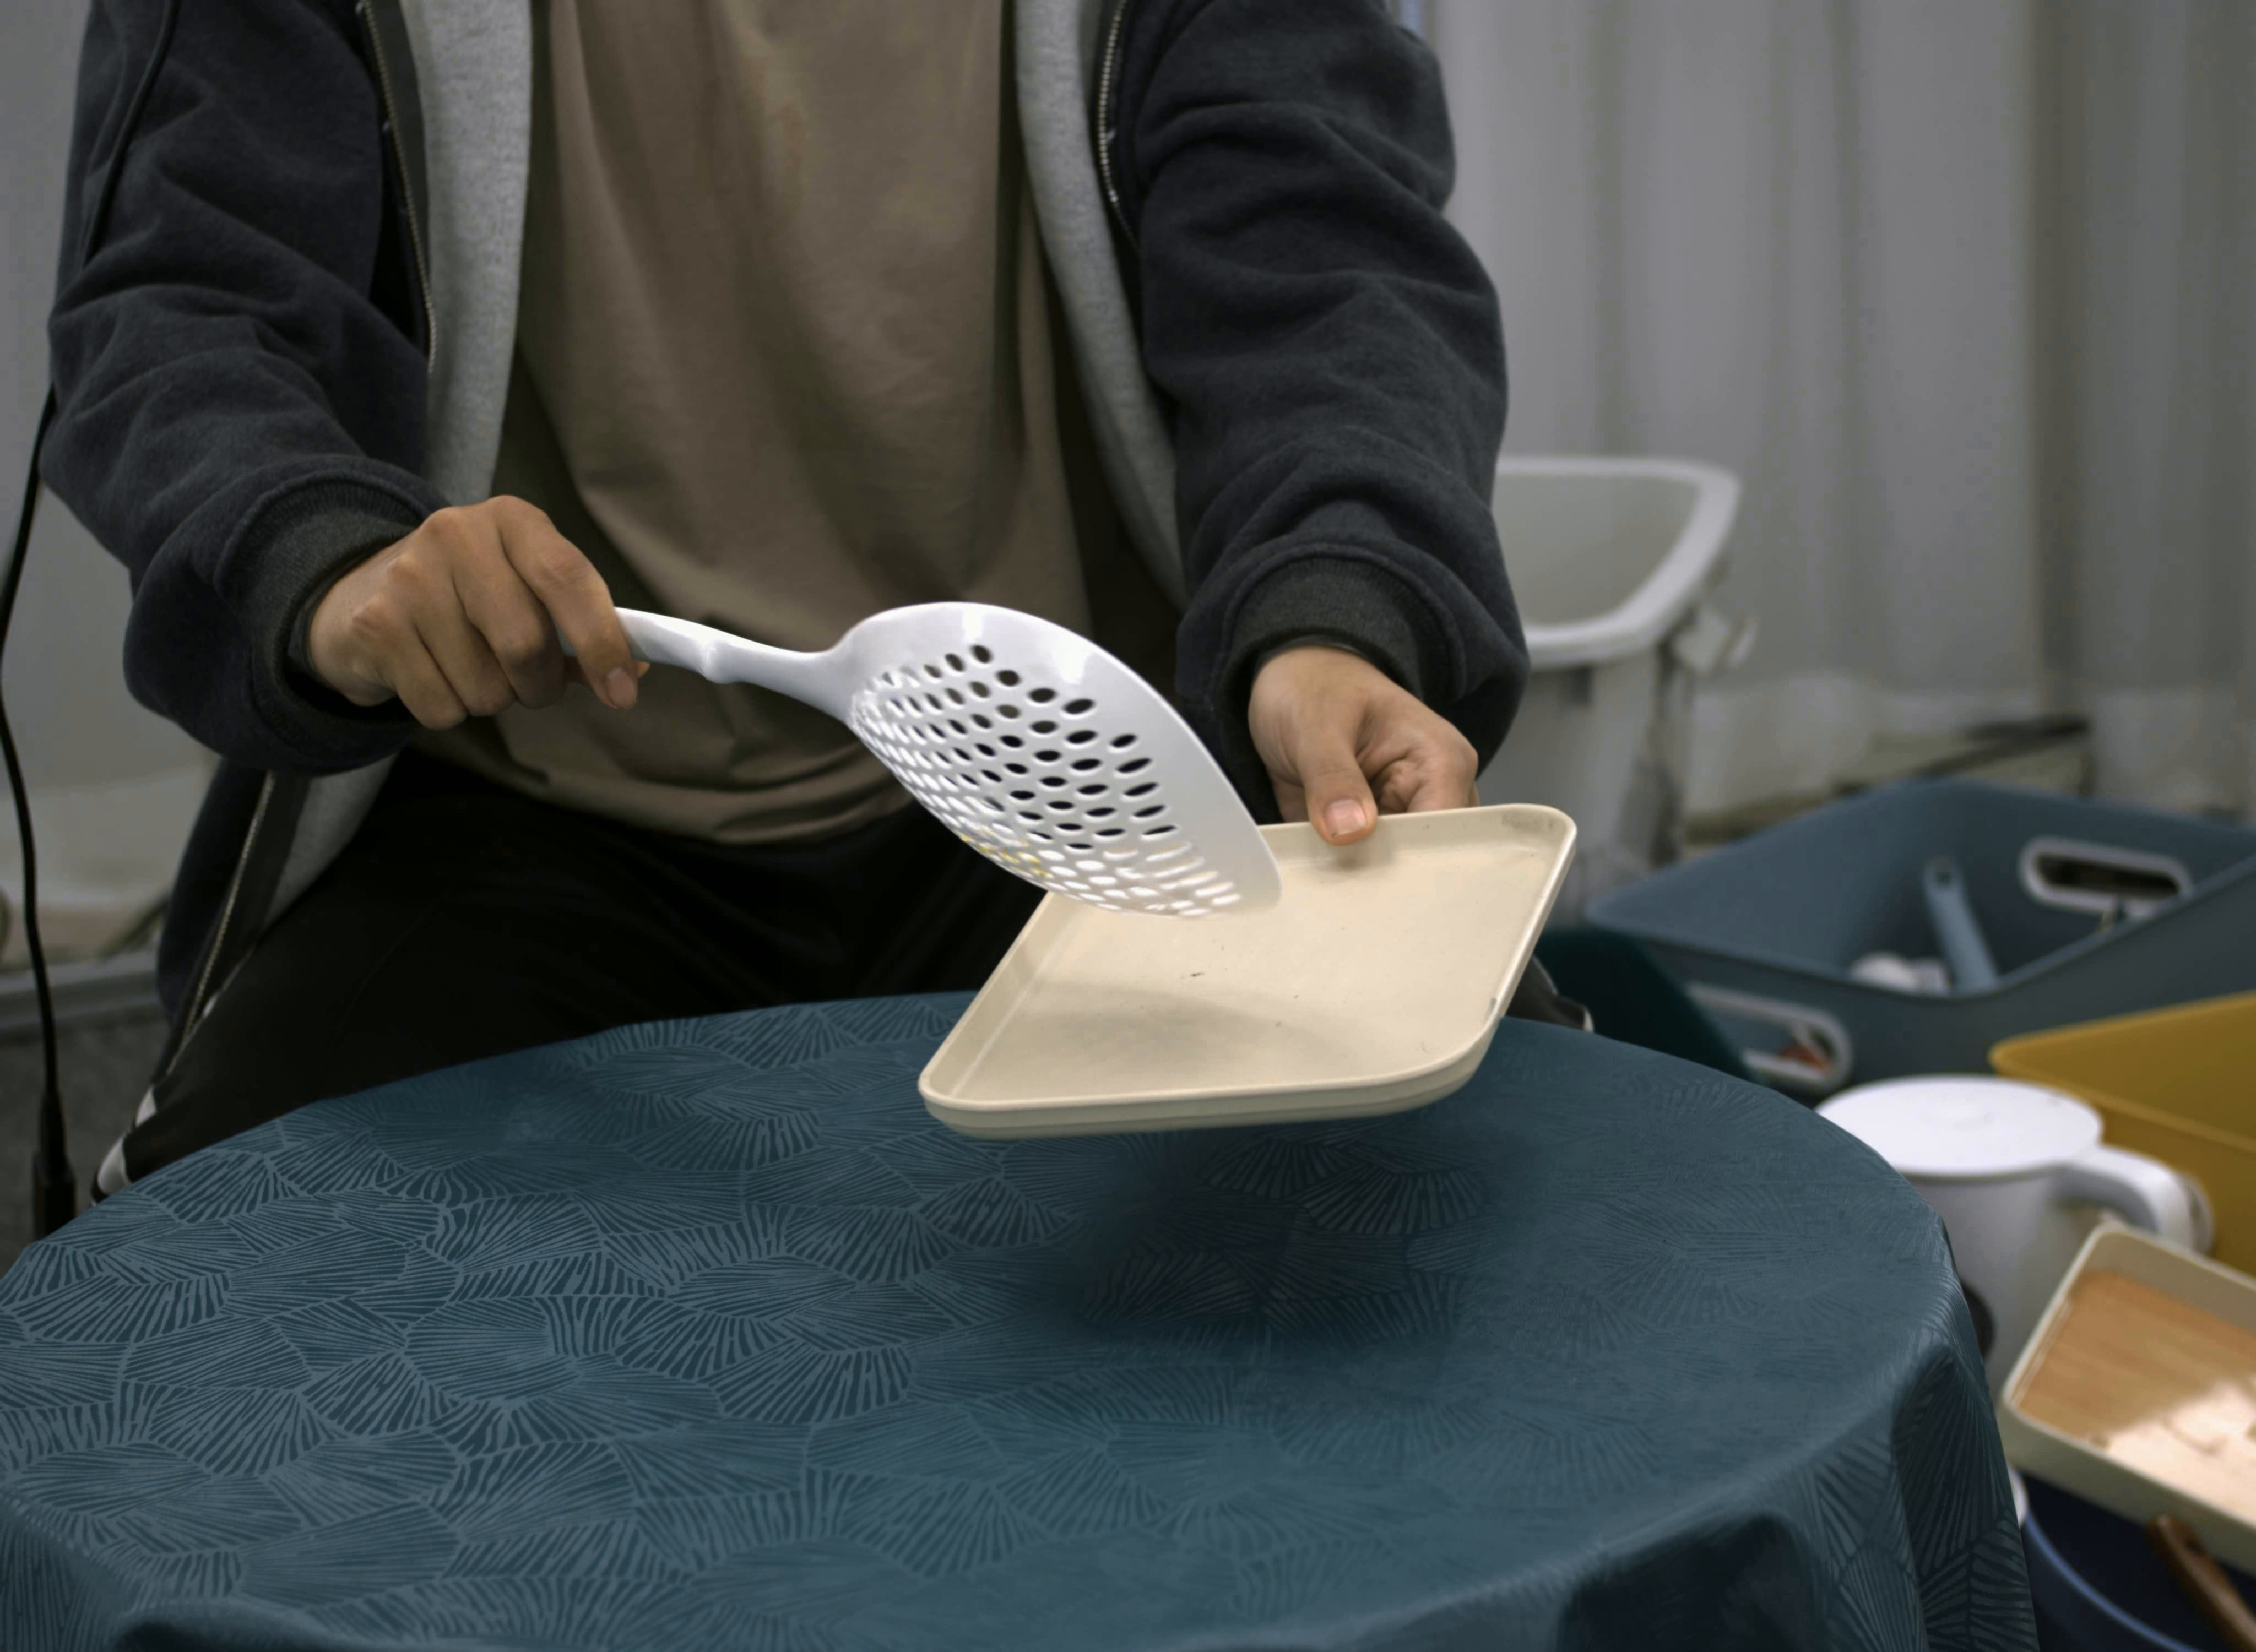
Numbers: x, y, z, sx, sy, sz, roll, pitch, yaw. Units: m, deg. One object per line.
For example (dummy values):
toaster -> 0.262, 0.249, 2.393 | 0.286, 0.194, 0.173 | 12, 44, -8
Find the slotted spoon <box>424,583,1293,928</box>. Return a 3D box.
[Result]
slotted spoon -> -0.094, -0.036, 1.687 | 0.351, 0.135, 0.050 | 22, 65, 43

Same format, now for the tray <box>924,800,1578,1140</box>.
tray -> 0.042, 0.043, 1.663 | 0.171, 0.017, 0.241 | -5, 18, 16
